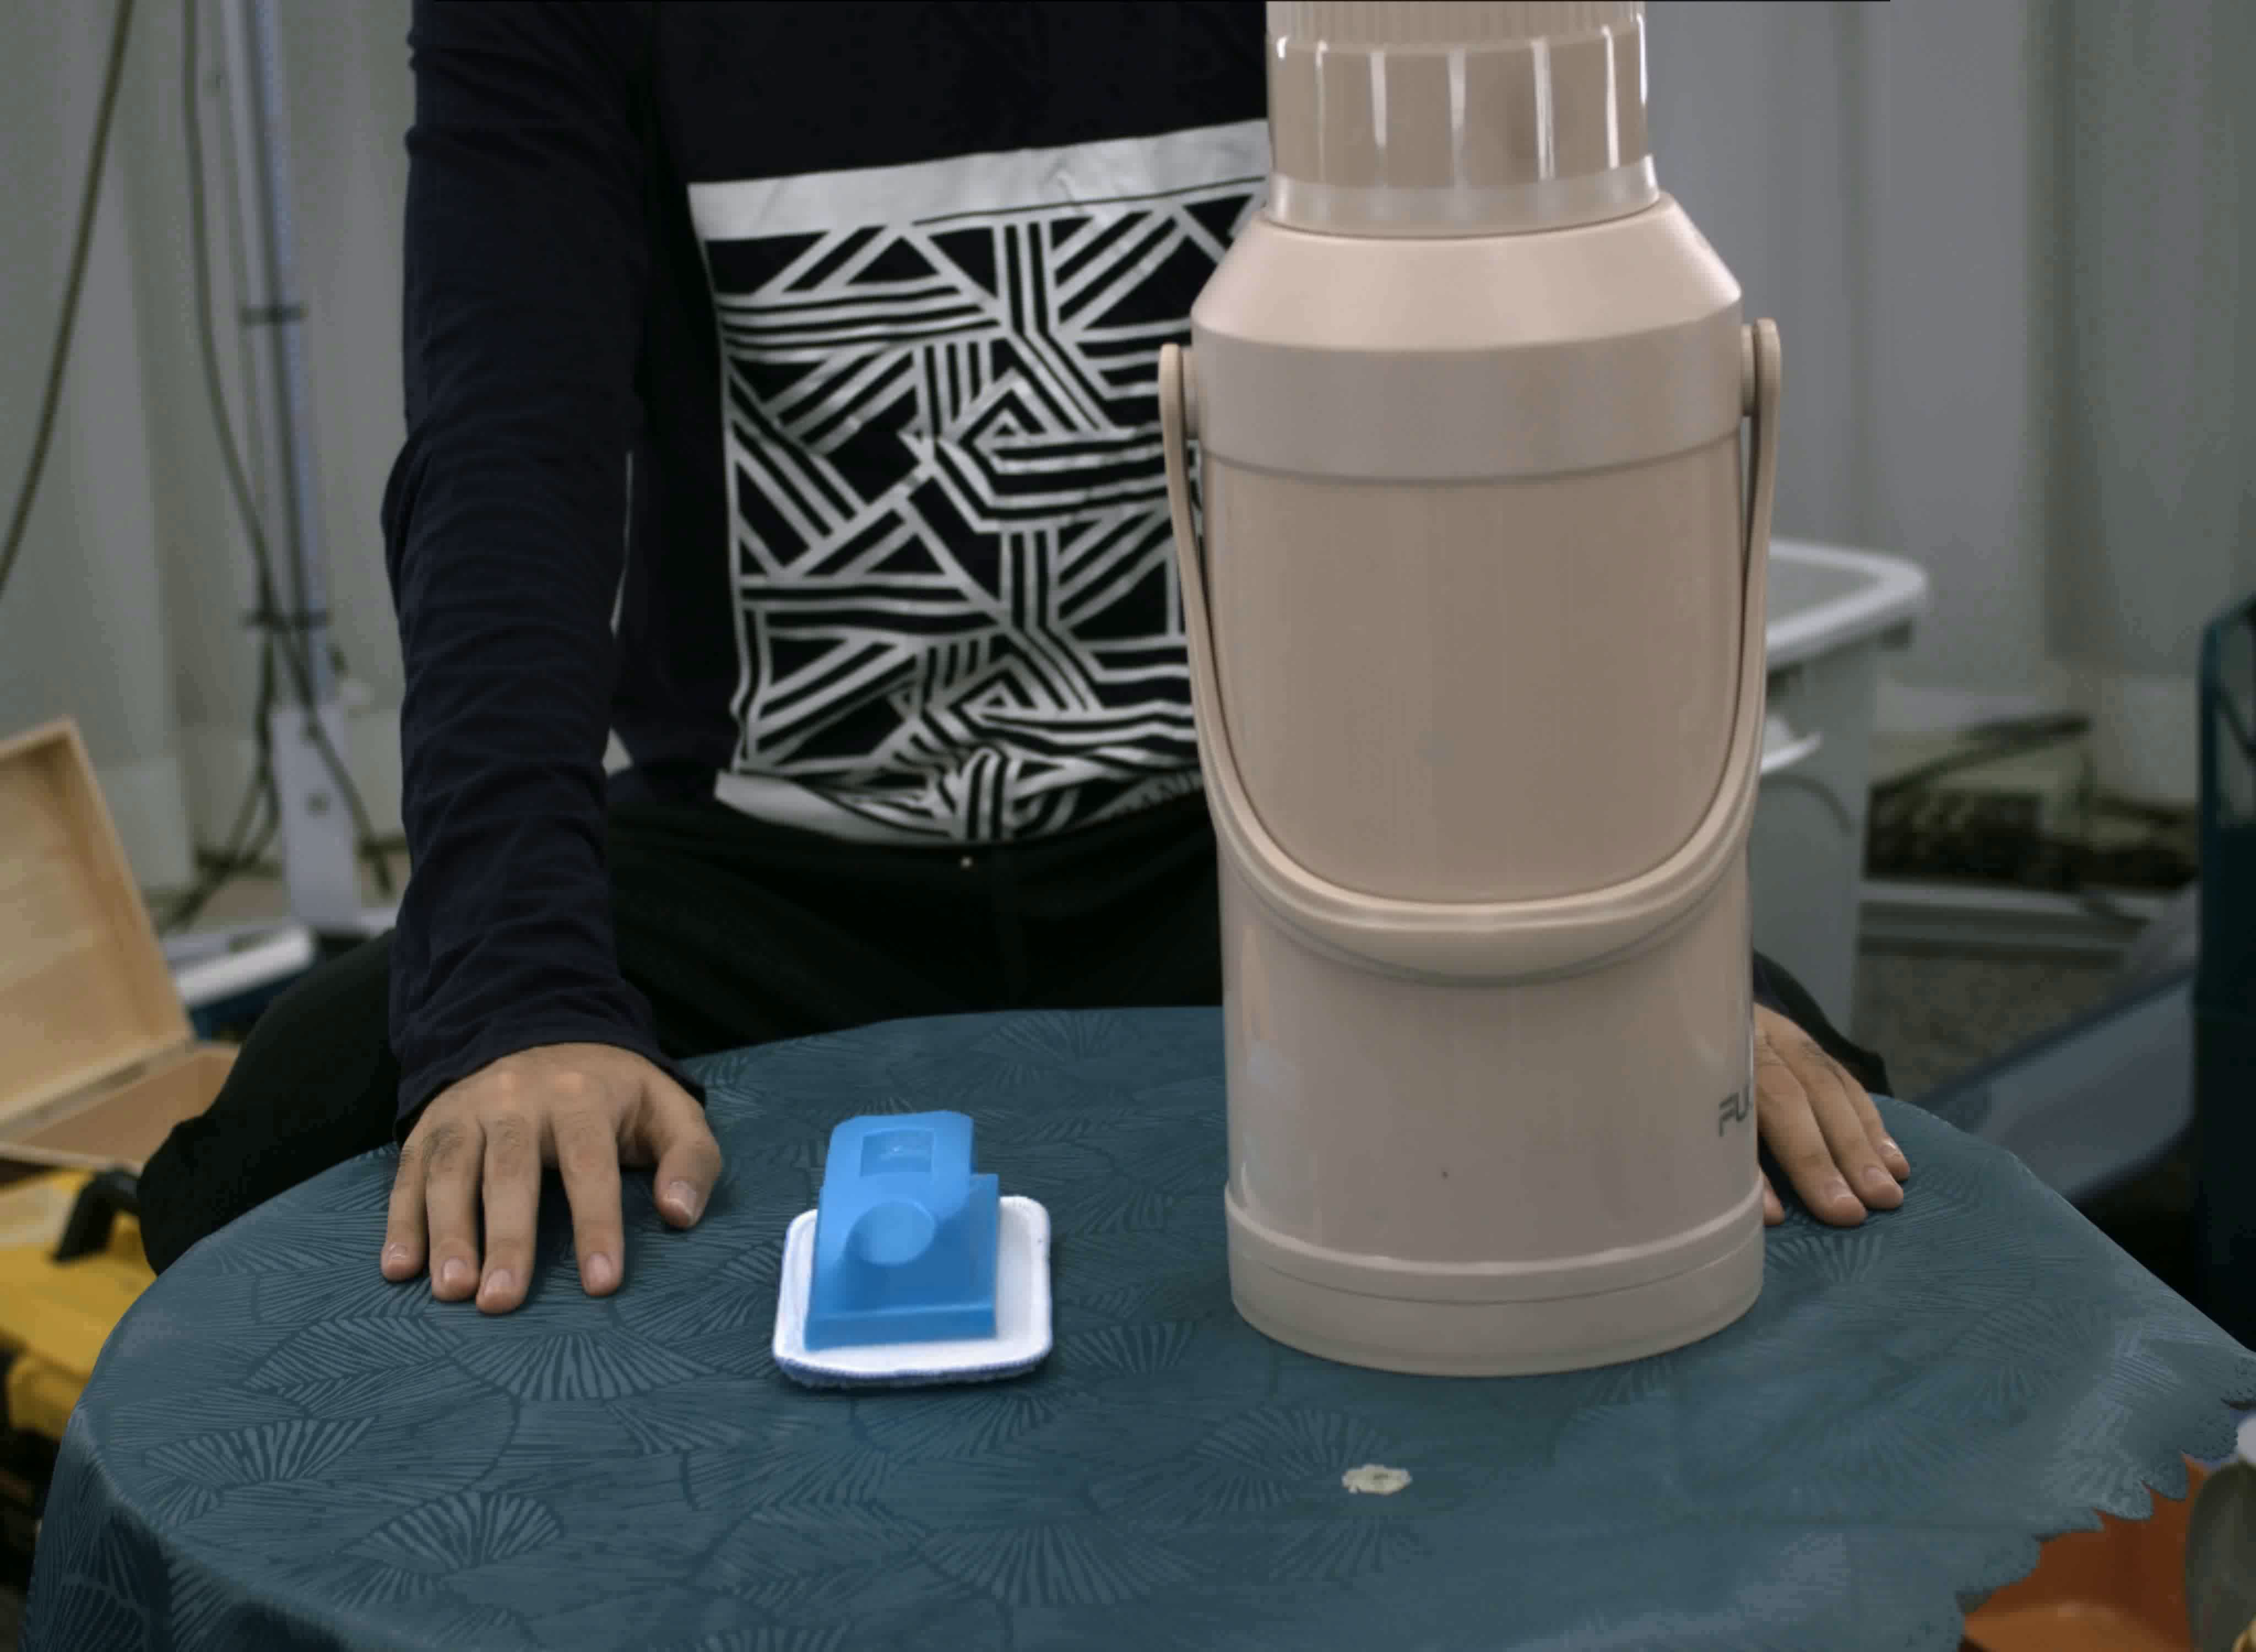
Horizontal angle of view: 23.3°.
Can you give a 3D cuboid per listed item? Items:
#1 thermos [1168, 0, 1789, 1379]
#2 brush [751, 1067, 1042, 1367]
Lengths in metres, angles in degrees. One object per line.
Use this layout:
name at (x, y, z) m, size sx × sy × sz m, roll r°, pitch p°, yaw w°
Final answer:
thermos at (0.105, -0.059, 1.582) m, size 0.175 × 0.405 × 0.208 m, roll -4°, pitch 13°, yaw 2°
brush at (-0.068, 0.112, 1.616) m, size 0.083 × 0.055 × 0.145 m, roll 1°, pitch 19°, yaw 0°
